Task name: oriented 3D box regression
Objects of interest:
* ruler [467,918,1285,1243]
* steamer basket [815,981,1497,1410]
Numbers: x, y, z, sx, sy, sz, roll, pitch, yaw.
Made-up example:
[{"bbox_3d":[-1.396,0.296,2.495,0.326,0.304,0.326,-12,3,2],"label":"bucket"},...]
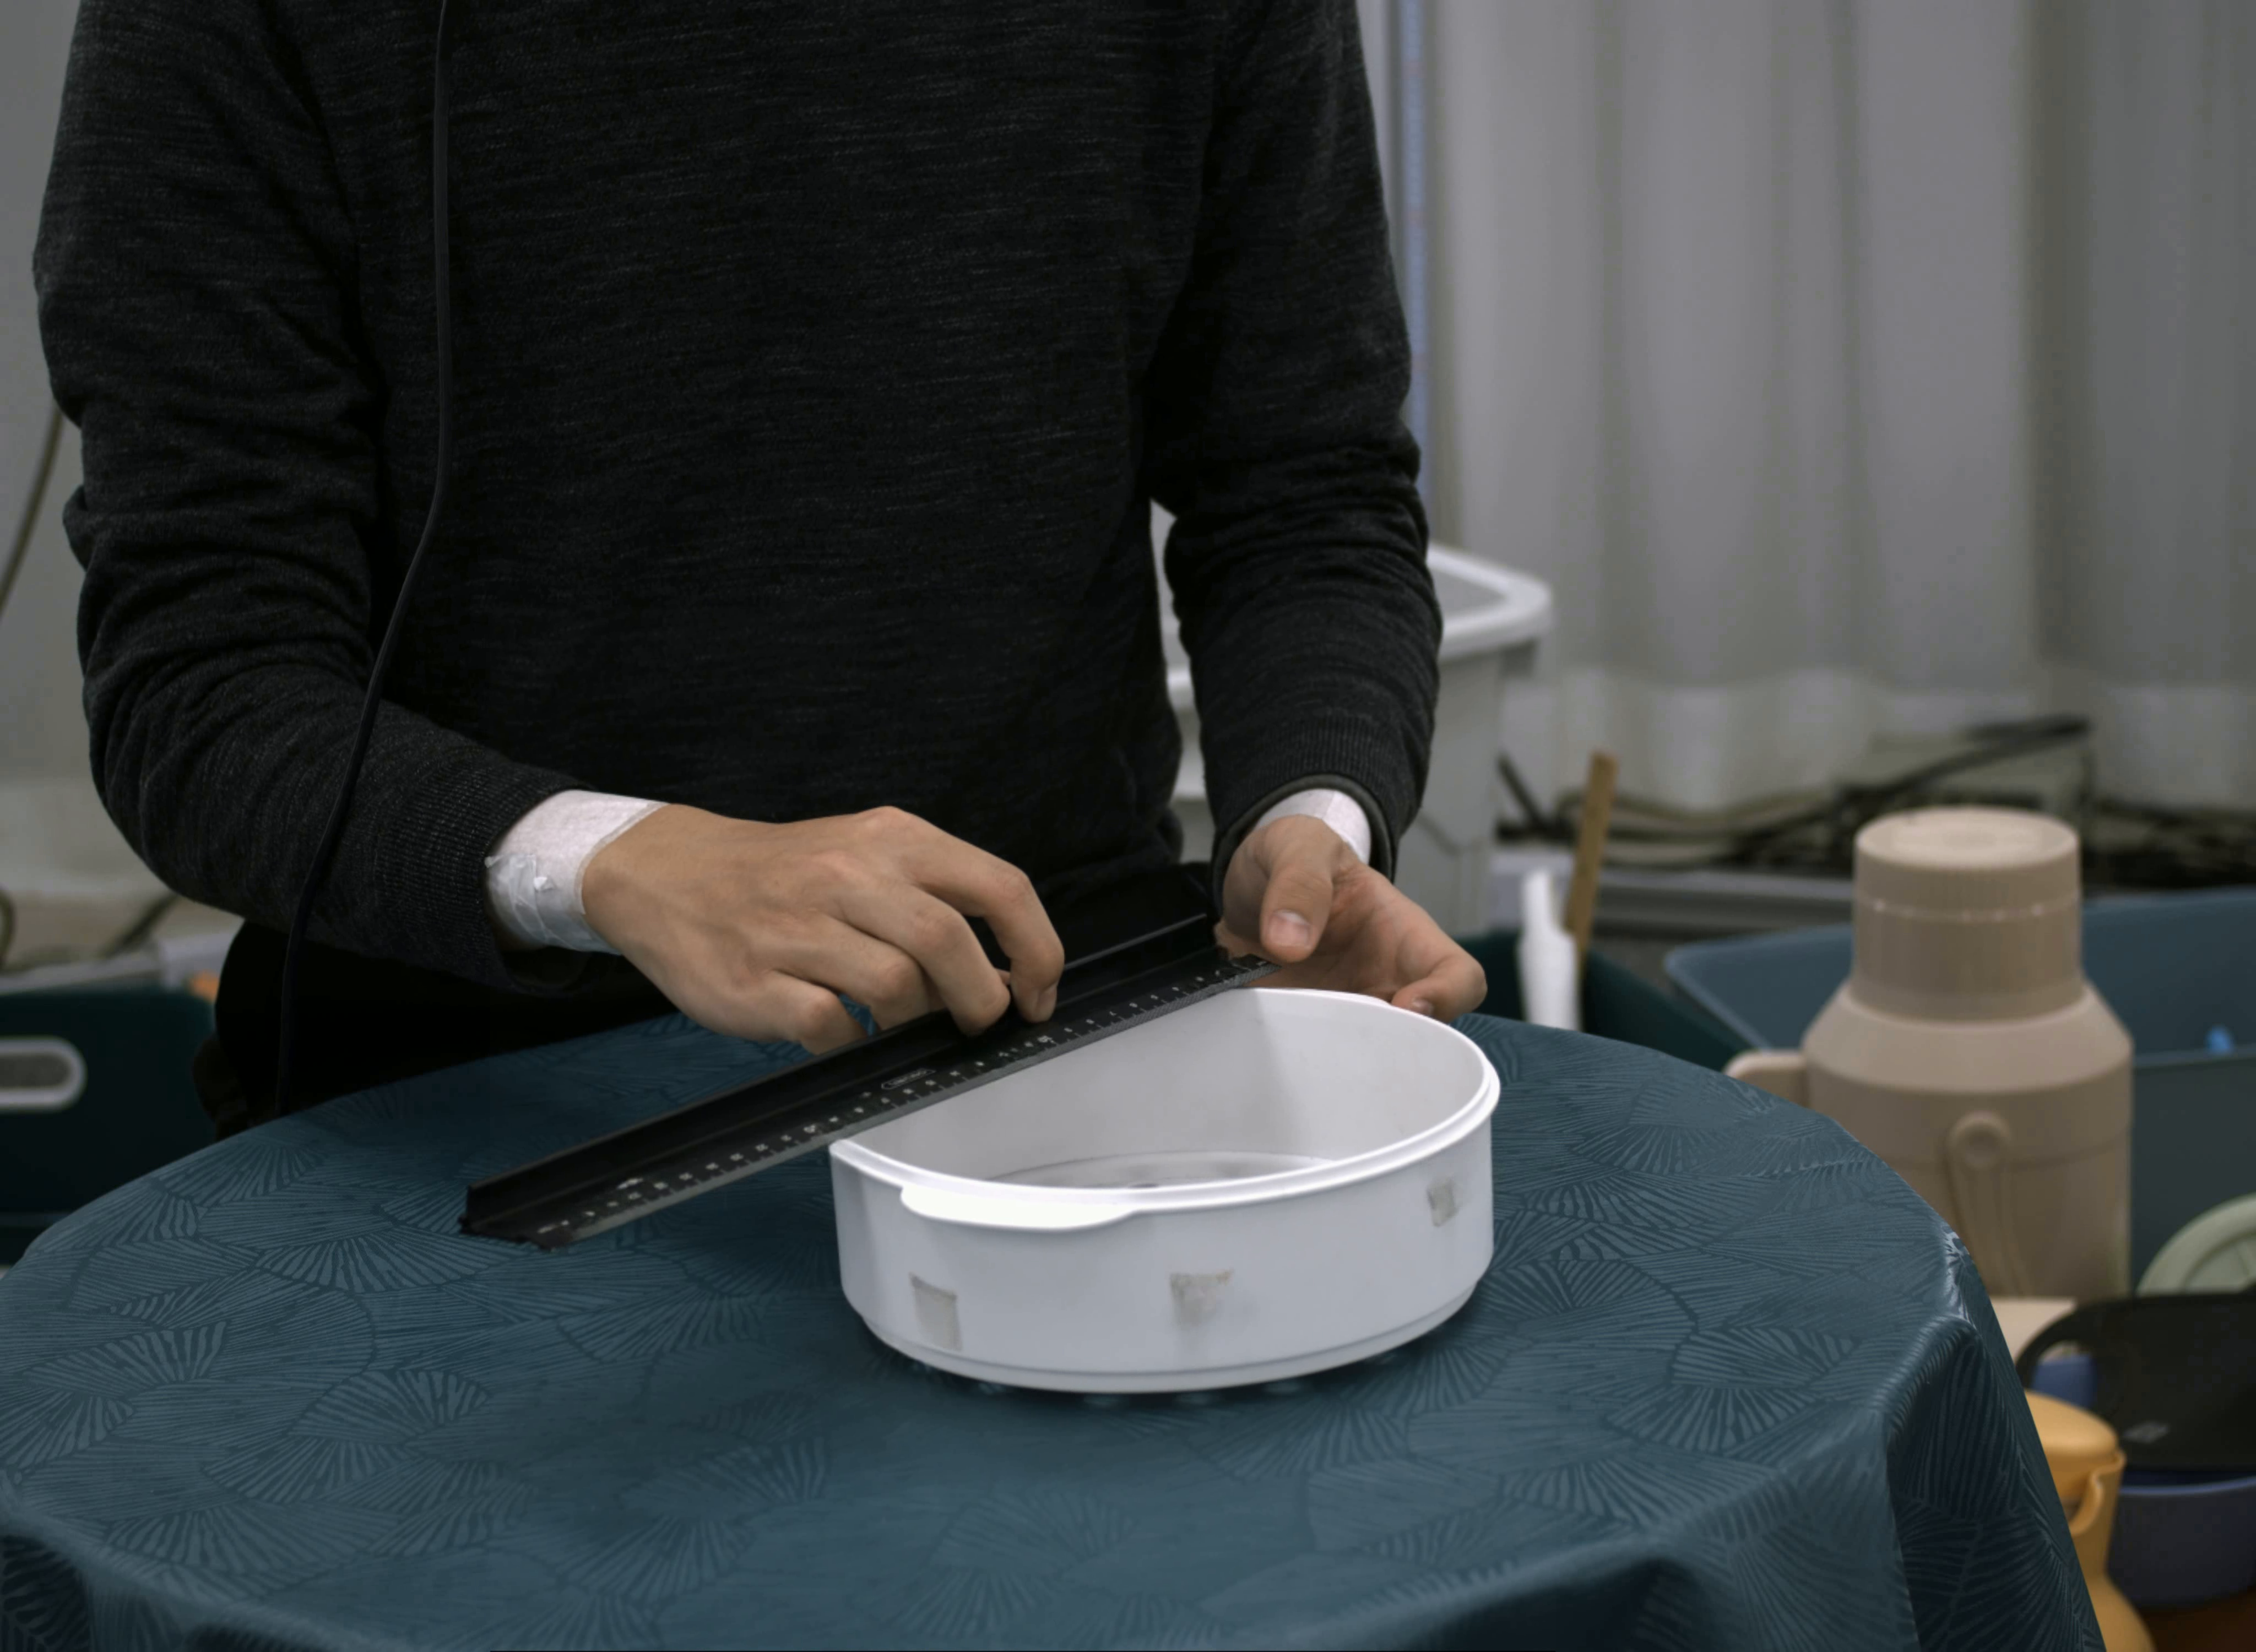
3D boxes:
[{"bbox_3d":[-0.067,0.071,1.599,0.039,0.017,0.312,8,18,41],"label":"ruler"},{"bbox_3d":[0.009,0.108,1.604,0.202,0.069,0.231,4,18,25],"label":"steamer basket"}]
